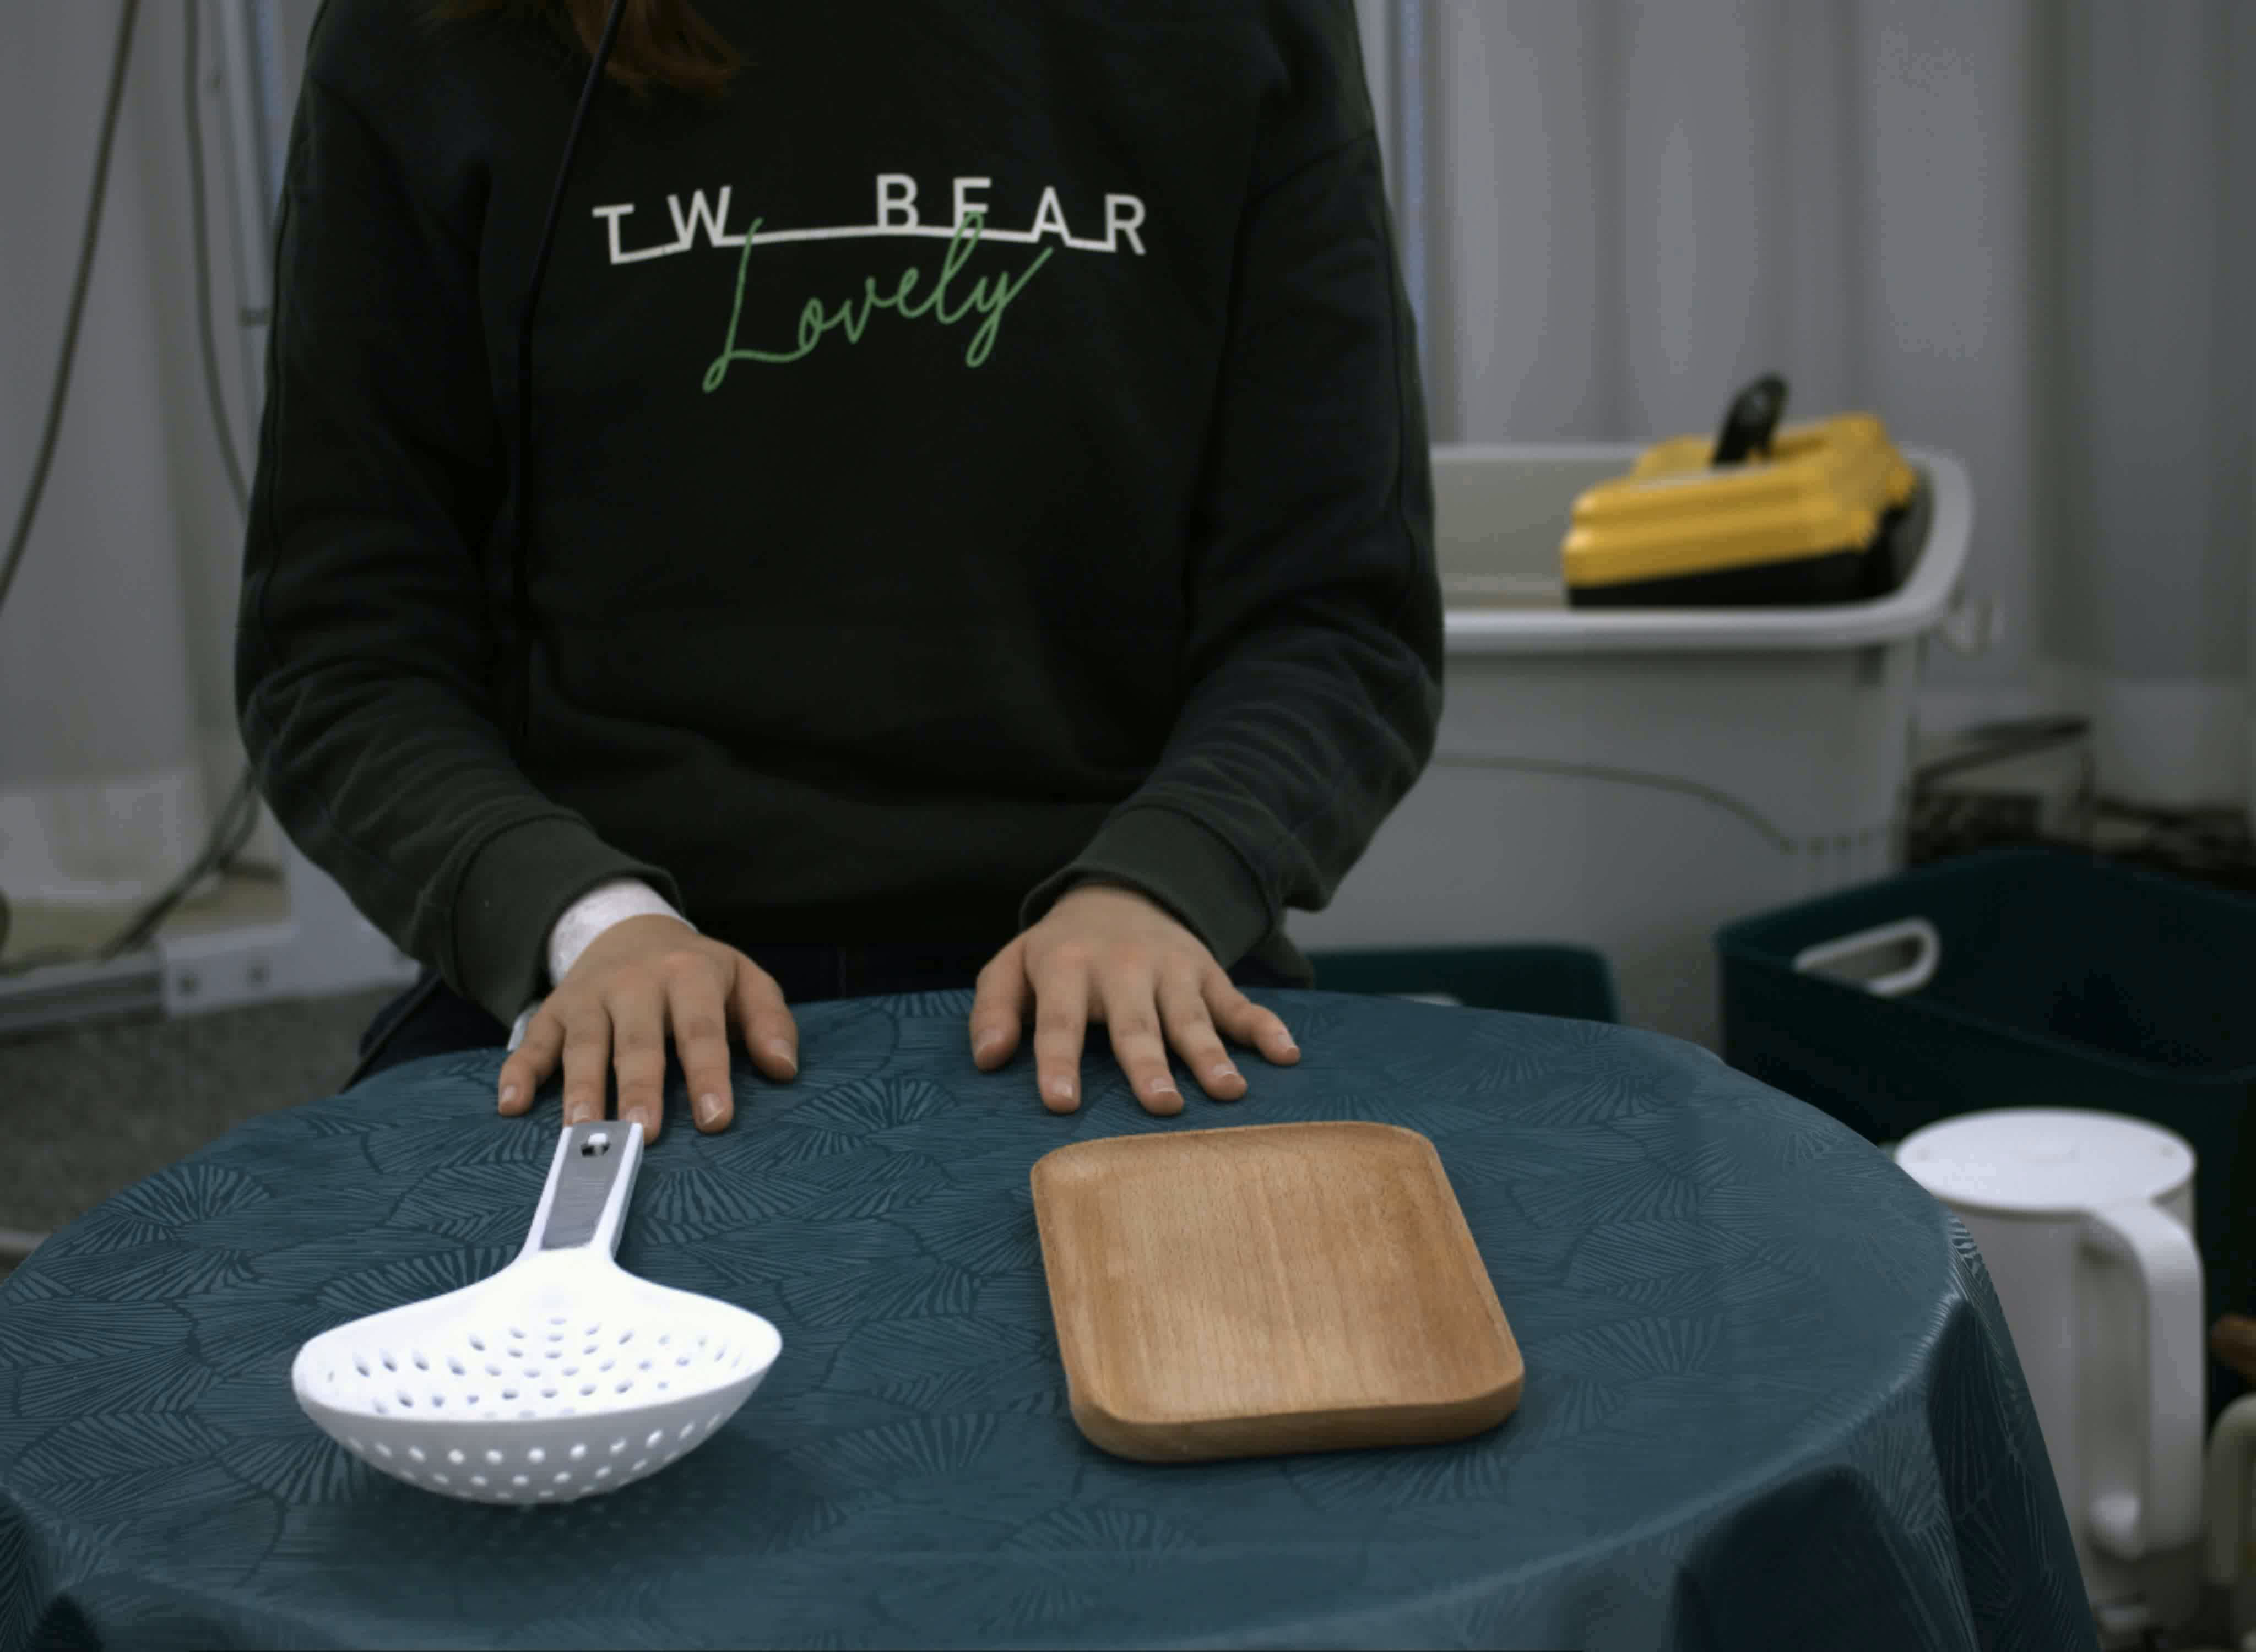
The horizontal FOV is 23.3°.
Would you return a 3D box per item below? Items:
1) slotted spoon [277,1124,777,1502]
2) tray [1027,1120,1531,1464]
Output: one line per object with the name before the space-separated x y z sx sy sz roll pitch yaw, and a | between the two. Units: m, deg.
slotted spoon | -0.165 0.132 1.592 0.135 0.045 0.352 -1 14 -1
tray | 0.040 0.134 1.604 0.130 0.023 0.252 -2 14 -4
